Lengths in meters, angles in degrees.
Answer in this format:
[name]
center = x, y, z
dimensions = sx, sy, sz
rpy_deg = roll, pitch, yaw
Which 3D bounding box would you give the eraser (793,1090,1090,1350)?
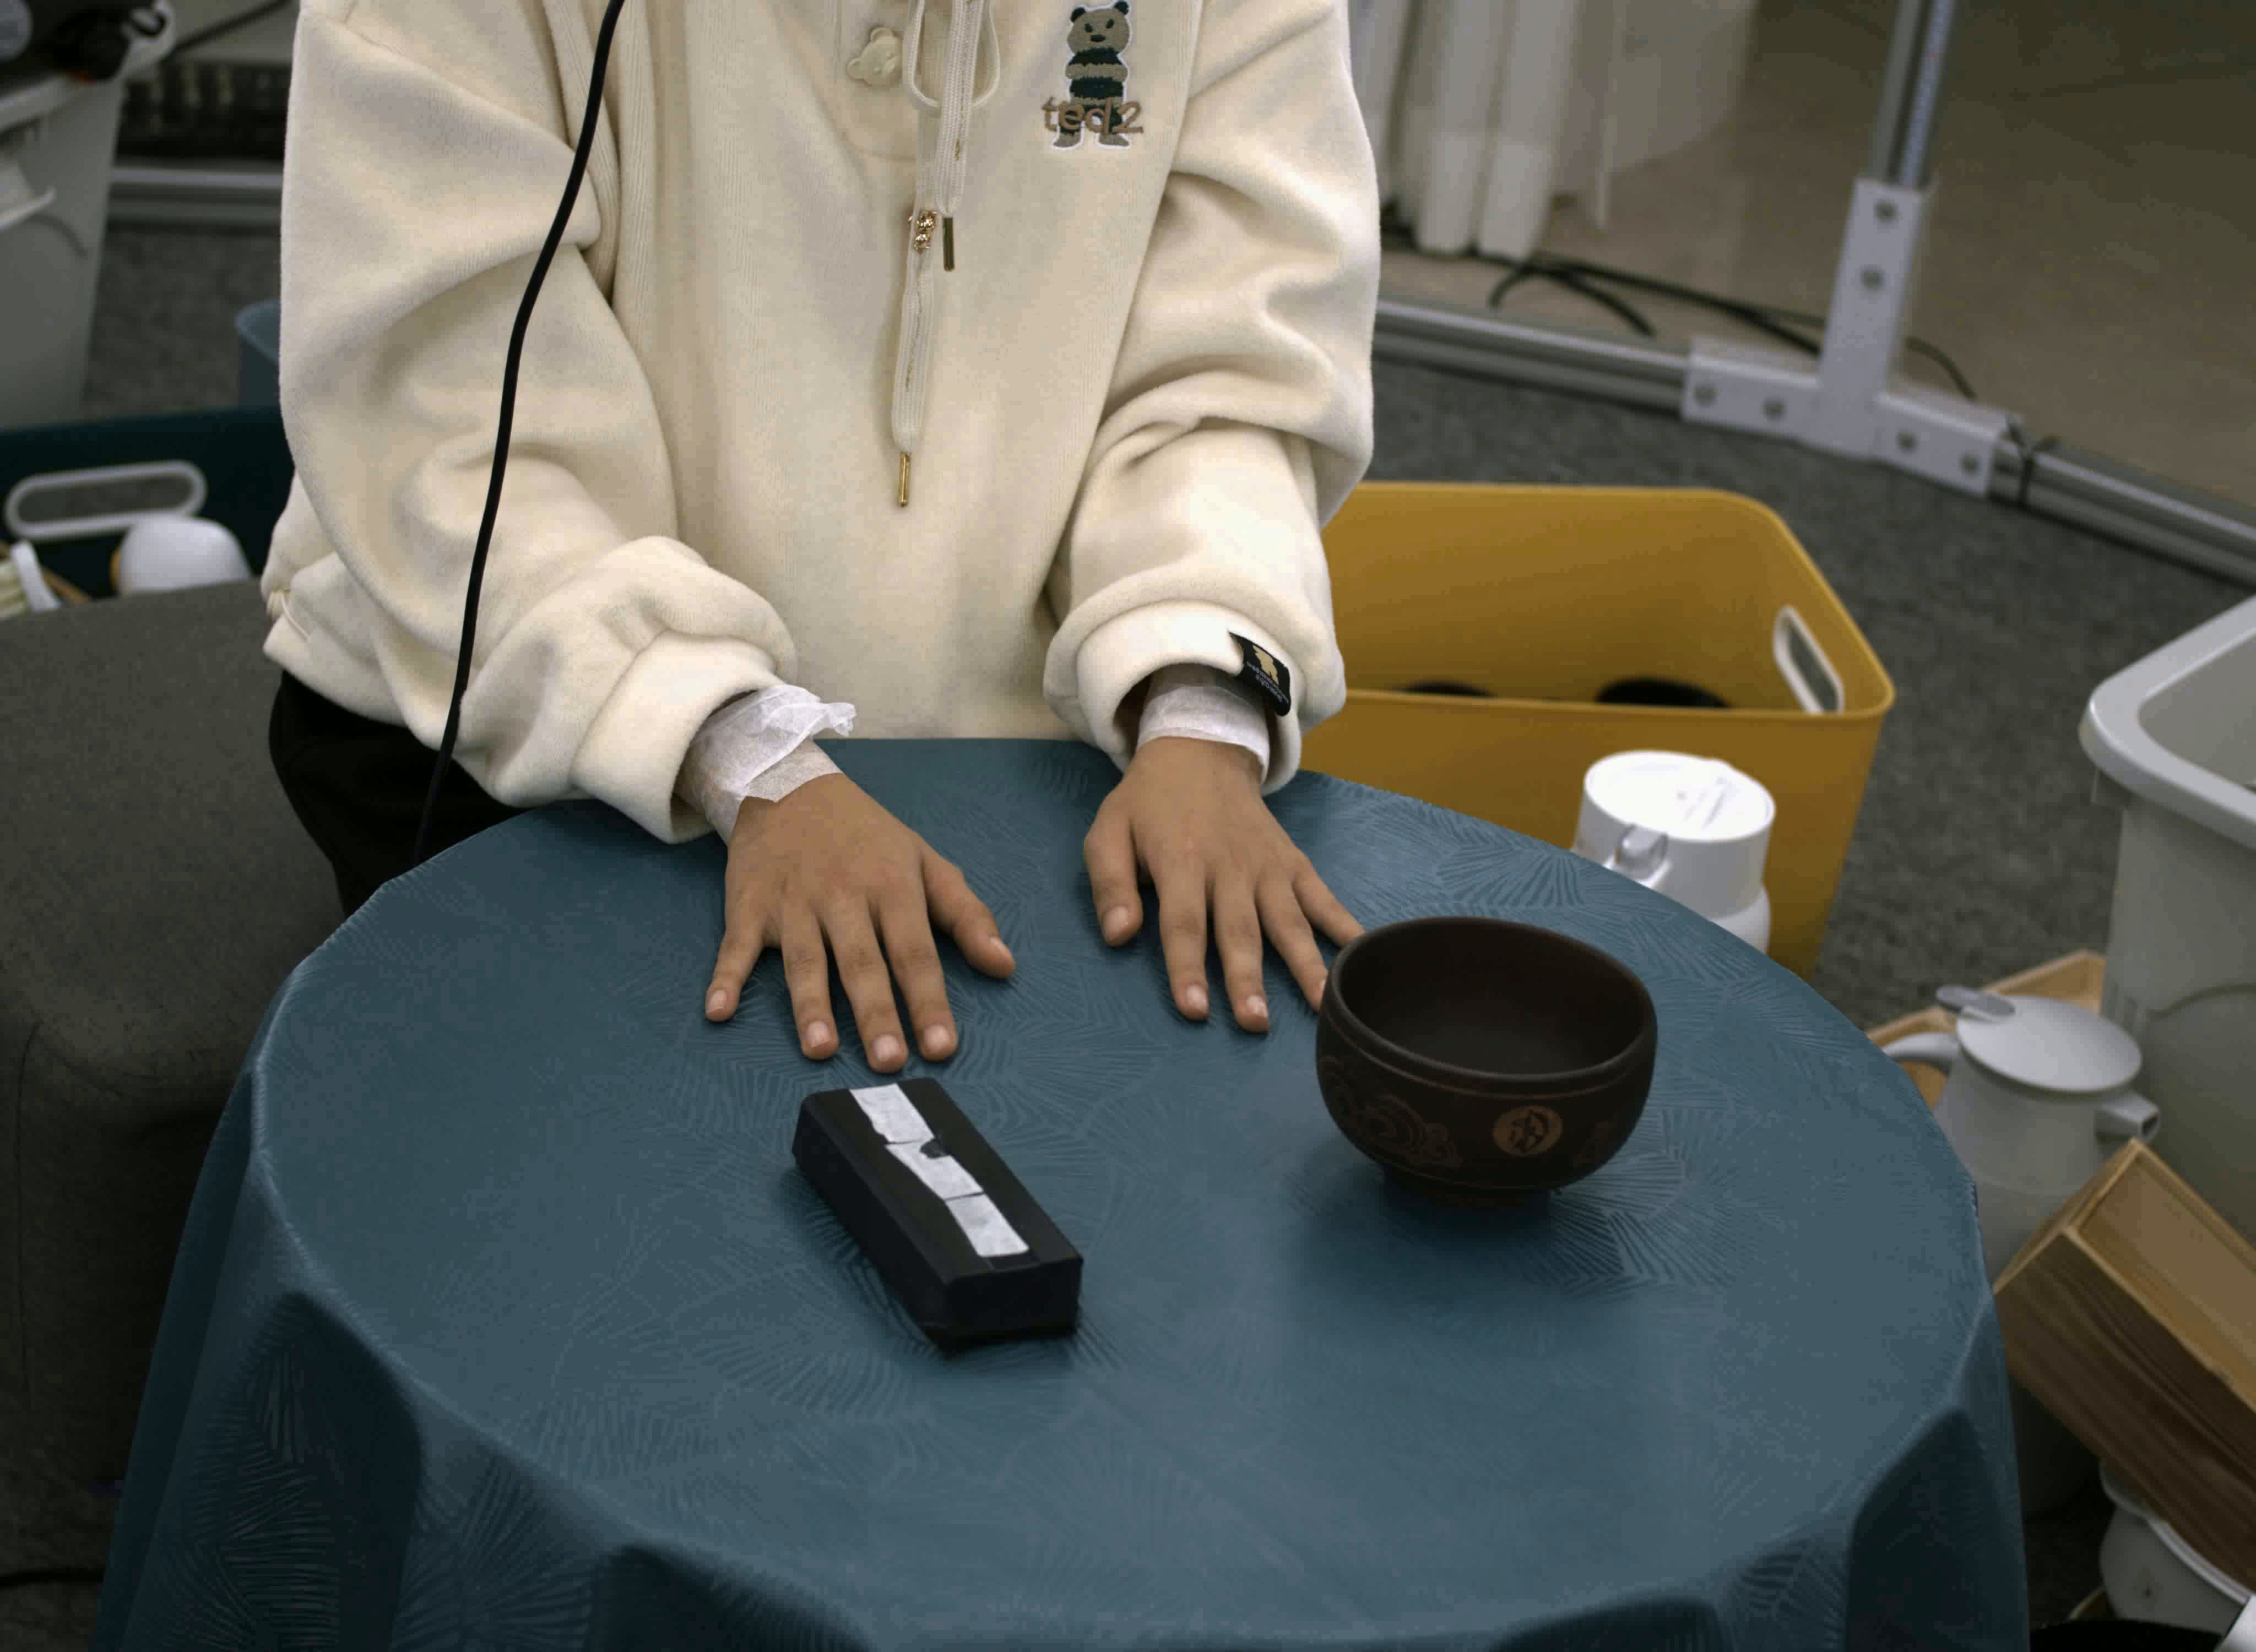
[eraser]
center = -0.062, 0.129, 1.749
dimensions = 0.053, 0.030, 0.126
rpy_deg = -6, 27, -26

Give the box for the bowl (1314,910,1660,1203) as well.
[bowl]
center = 0.121, 0.086, 1.824
dimensions = 0.117, 0.069, 0.119
rpy_deg = 4, 26, -3
